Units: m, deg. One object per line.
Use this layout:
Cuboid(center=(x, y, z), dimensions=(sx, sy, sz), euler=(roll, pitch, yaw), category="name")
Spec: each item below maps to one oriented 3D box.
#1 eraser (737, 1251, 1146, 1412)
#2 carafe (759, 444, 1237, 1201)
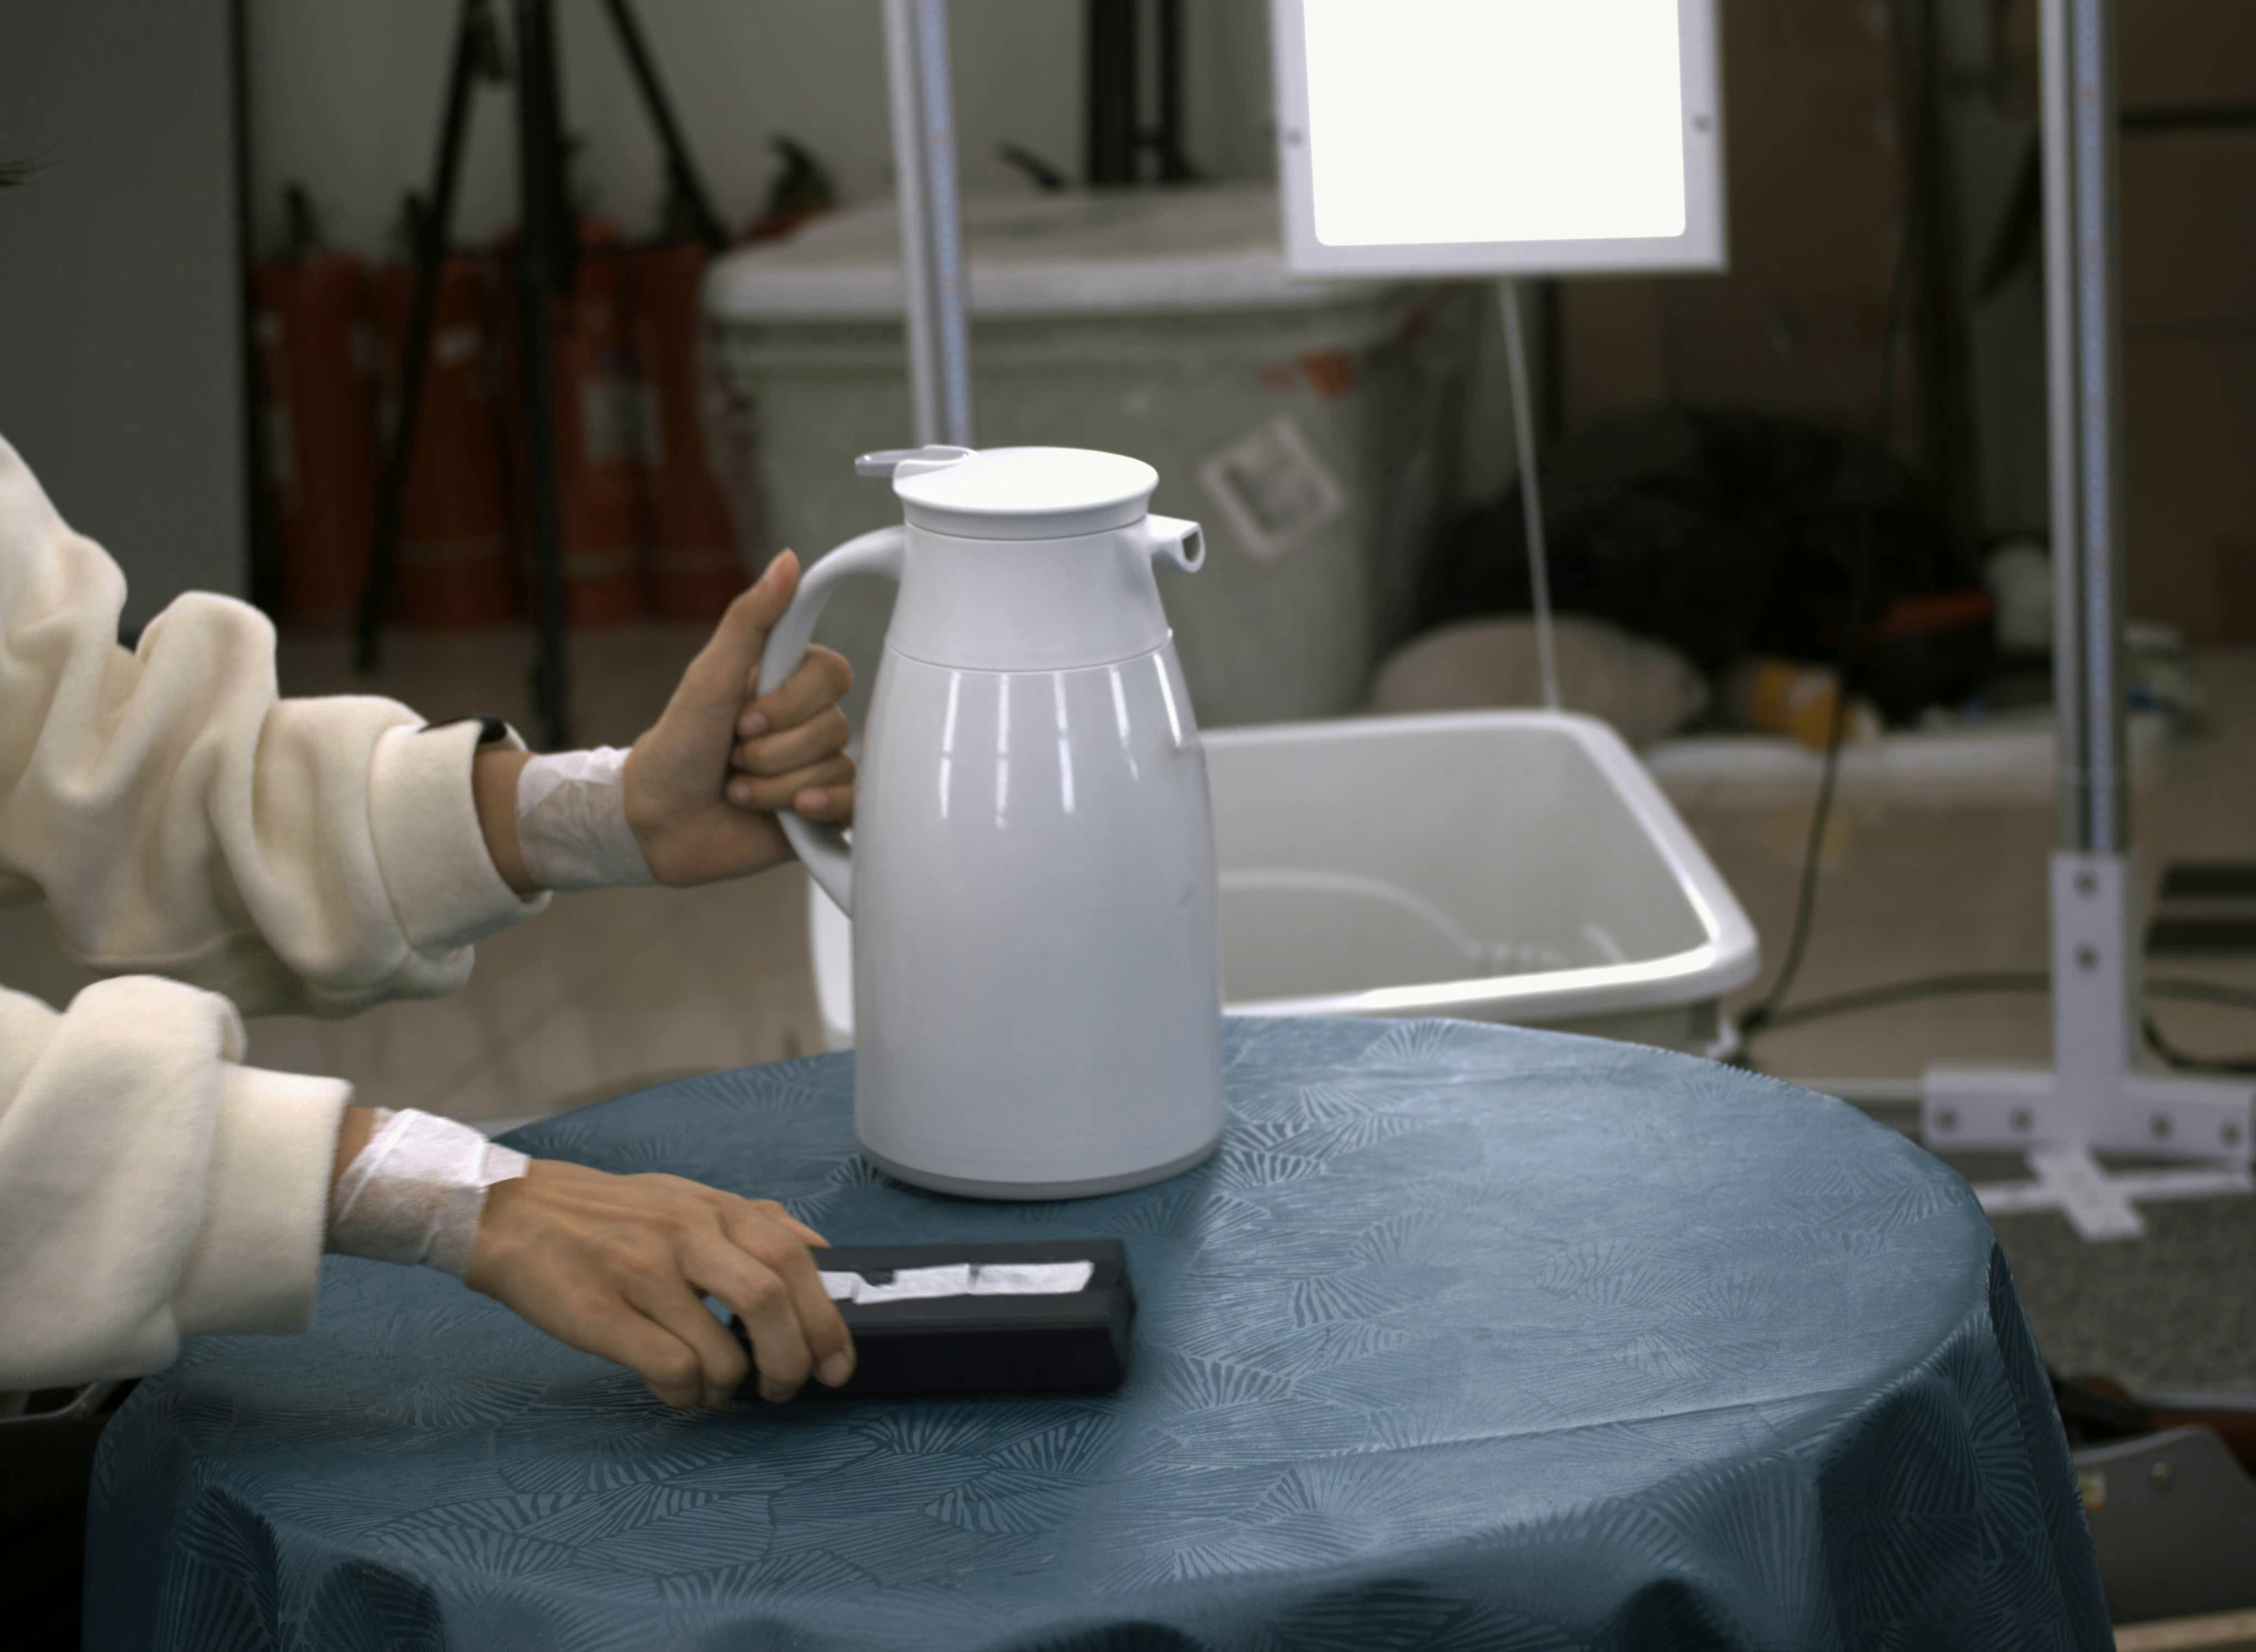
Cuboid(center=(-0.056, 0.157, 1.717), dimensions=(0.126, 0.030, 0.053), euler=(-3, 24, 9), category="eraser")
Cuboid(center=(-0.049, -0.008, 1.926), dimensions=(0.170, 0.249, 0.130), euler=(4, 17, 23), category="carafe")
